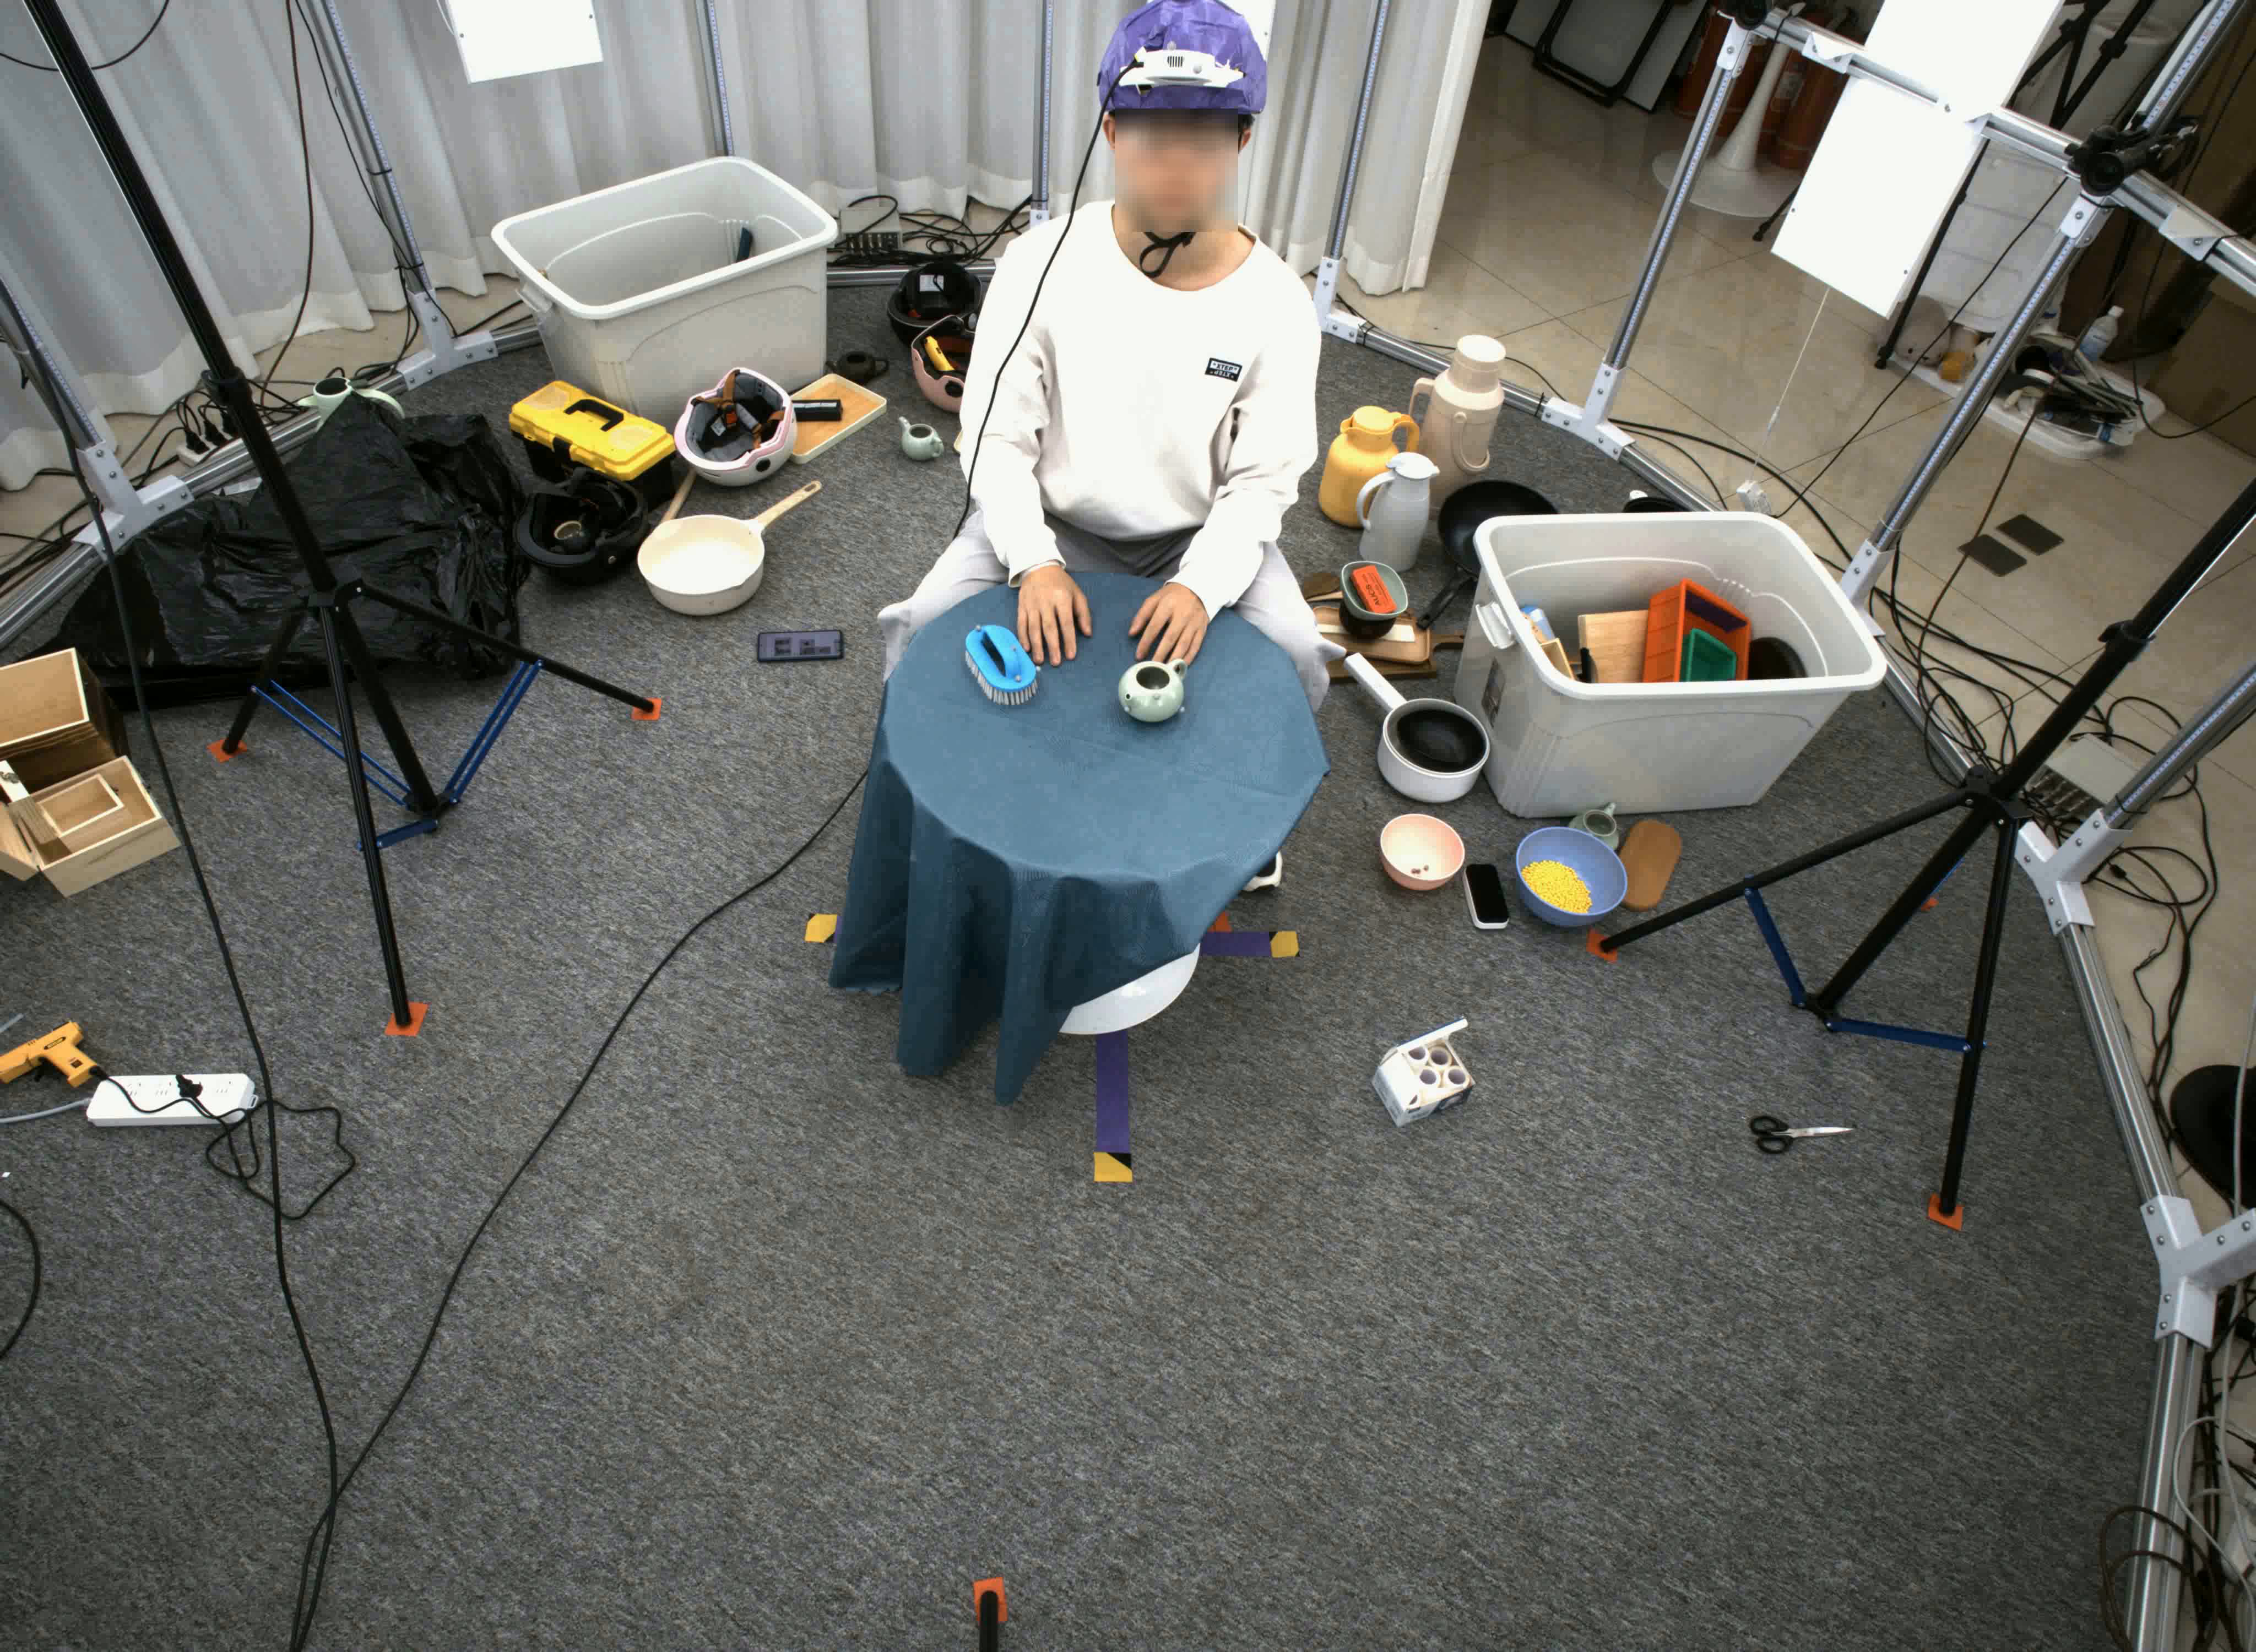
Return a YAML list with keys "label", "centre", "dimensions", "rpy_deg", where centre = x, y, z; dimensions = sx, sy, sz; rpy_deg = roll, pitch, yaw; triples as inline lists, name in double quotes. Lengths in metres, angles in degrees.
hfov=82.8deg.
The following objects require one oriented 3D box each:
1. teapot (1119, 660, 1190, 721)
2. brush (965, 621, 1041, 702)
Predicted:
- label: "teapot"
  centre: [0.040, -0.193, 1.797]
  dimensions: [0.129, 0.059, 0.093]
  rpy_deg: [-33, 56, -30]
- label: "brush"
  centre: [-0.179, -0.243, 1.821]
  dimensions: [0.084, 0.062, 0.145]
  rpy_deg: [-21, 53, -15]
